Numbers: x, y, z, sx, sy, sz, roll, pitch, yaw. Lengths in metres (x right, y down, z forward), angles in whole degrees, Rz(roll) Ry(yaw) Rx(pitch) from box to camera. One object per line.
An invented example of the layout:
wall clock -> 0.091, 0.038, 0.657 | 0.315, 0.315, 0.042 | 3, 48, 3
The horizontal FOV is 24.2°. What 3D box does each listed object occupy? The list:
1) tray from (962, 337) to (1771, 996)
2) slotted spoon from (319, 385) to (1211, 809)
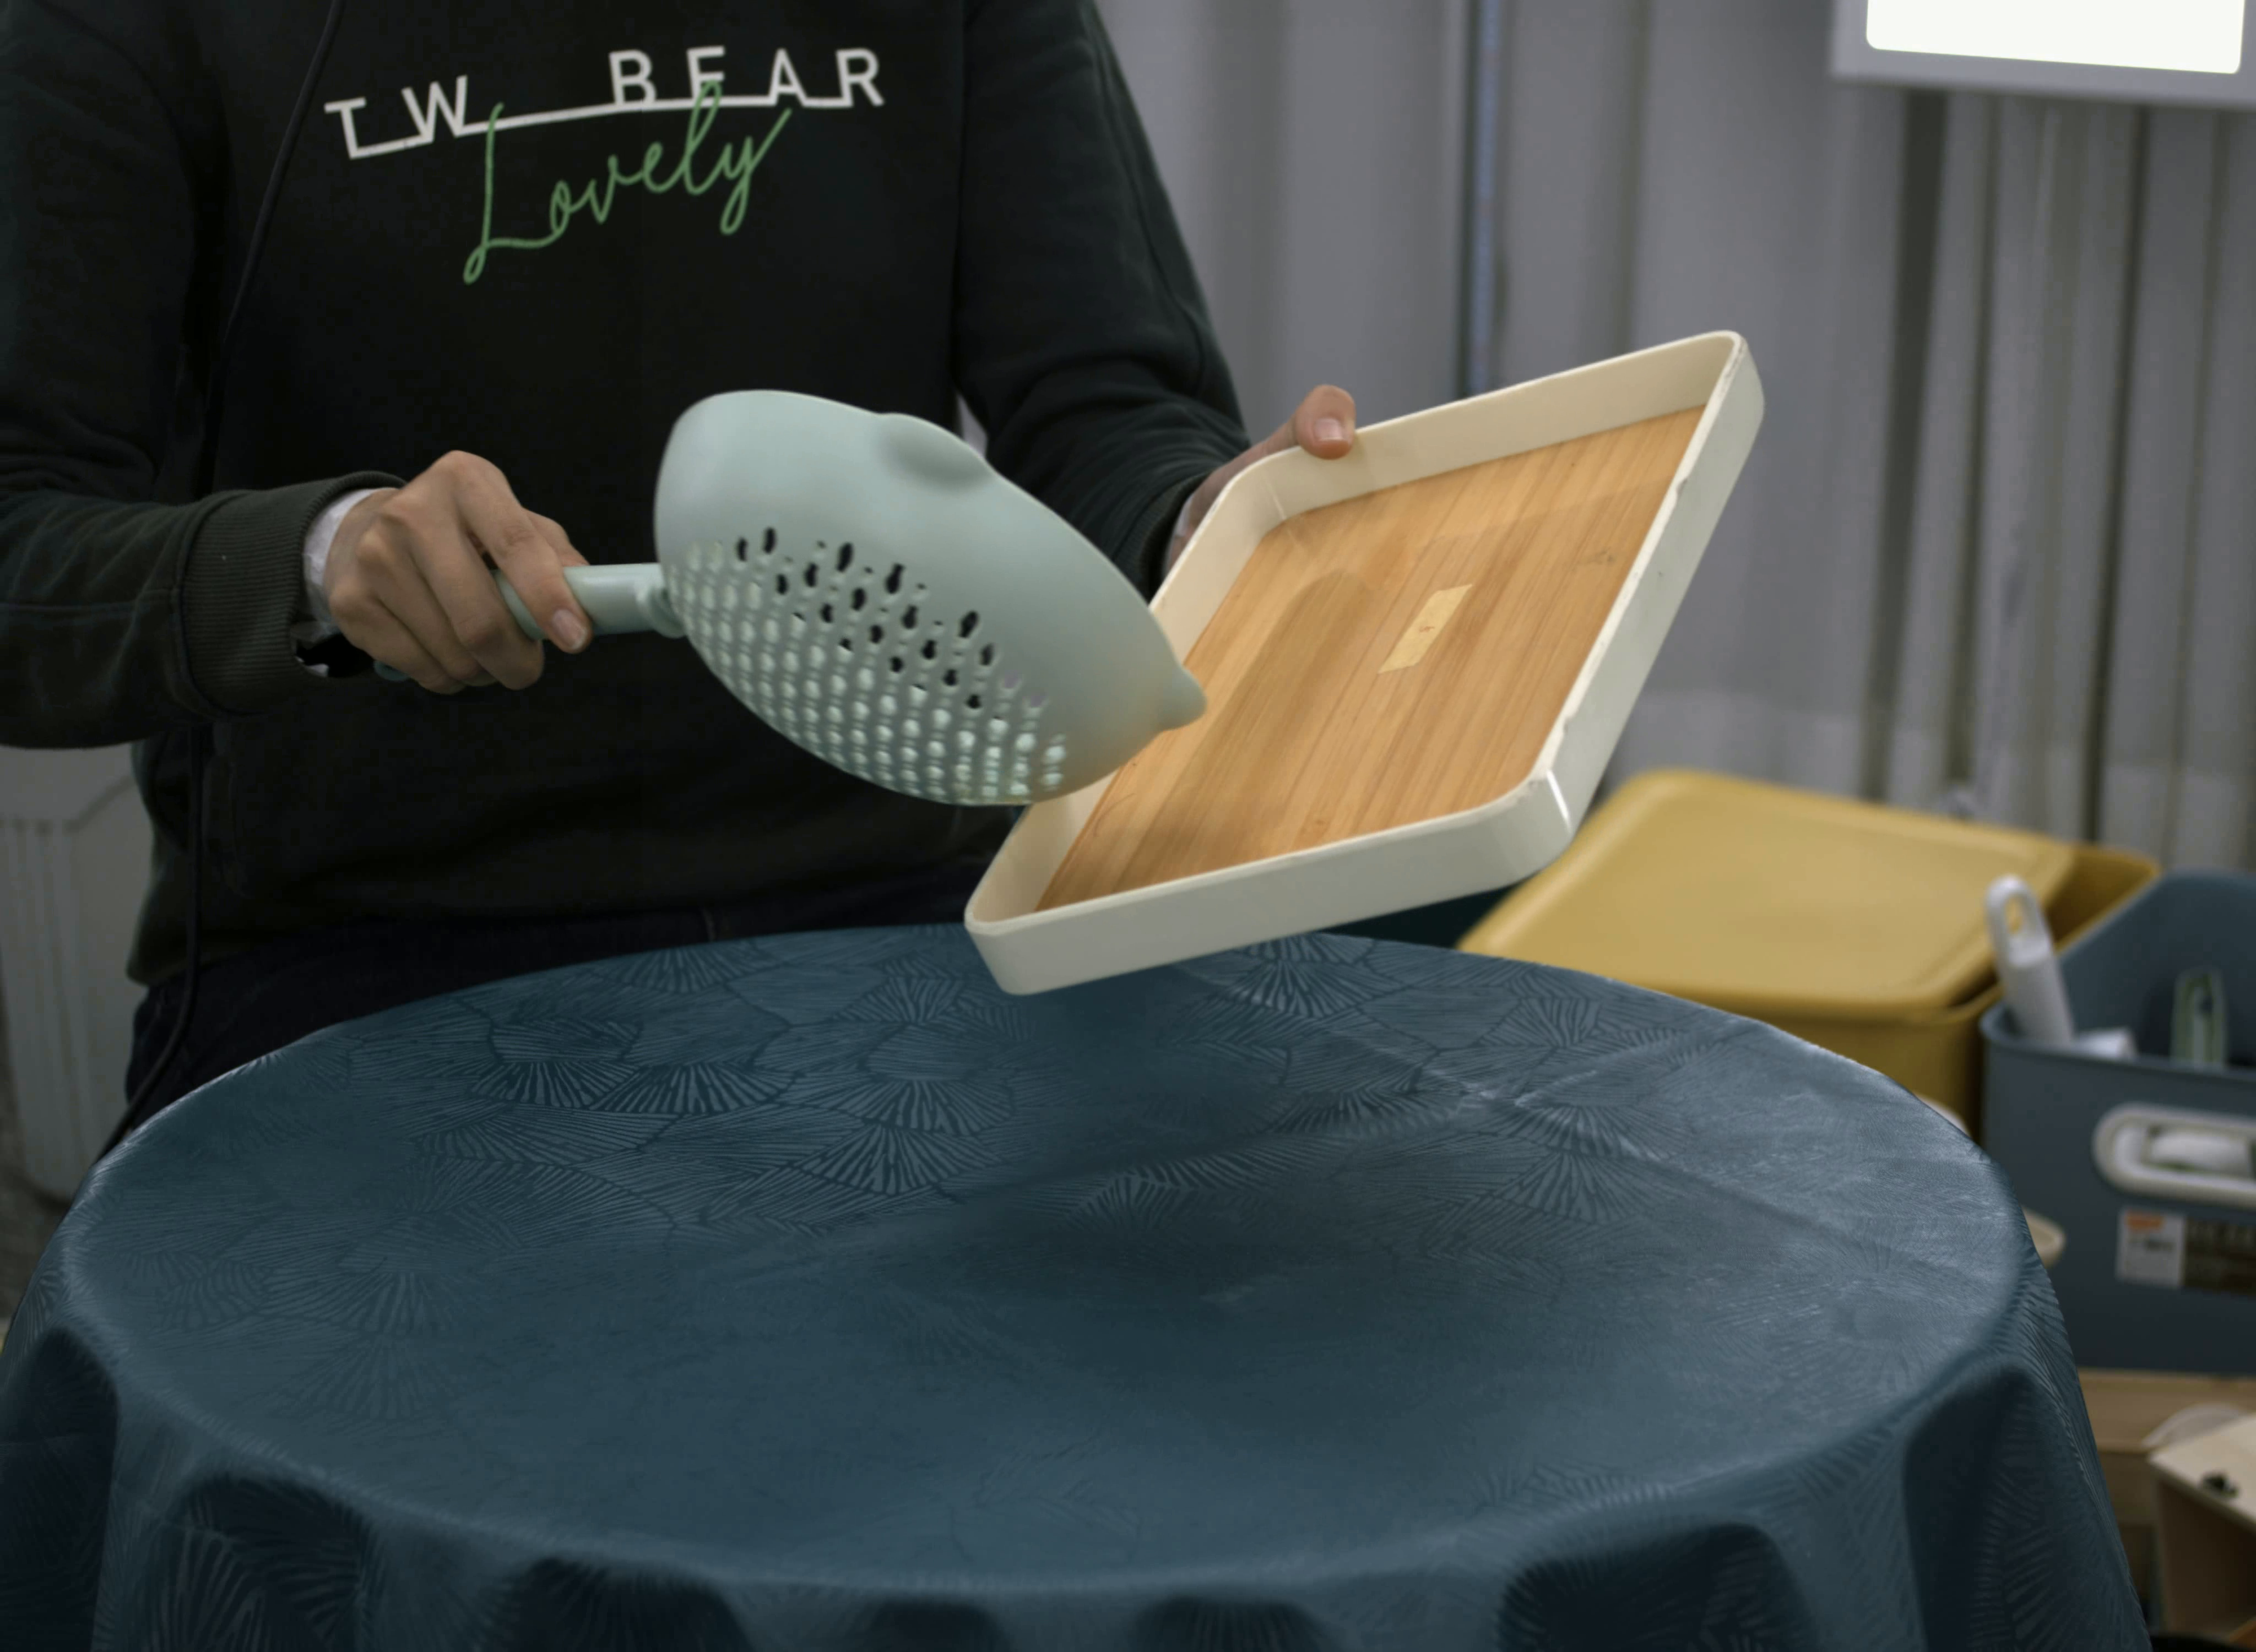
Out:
tray -> 0.078, -0.053, 1.604 | 0.190, 0.028, 0.299 | -13, 26, 27
slotted spoon -> -0.133, -0.063, 1.603 | 0.354, 0.171, 0.075 | 9, 59, 50
